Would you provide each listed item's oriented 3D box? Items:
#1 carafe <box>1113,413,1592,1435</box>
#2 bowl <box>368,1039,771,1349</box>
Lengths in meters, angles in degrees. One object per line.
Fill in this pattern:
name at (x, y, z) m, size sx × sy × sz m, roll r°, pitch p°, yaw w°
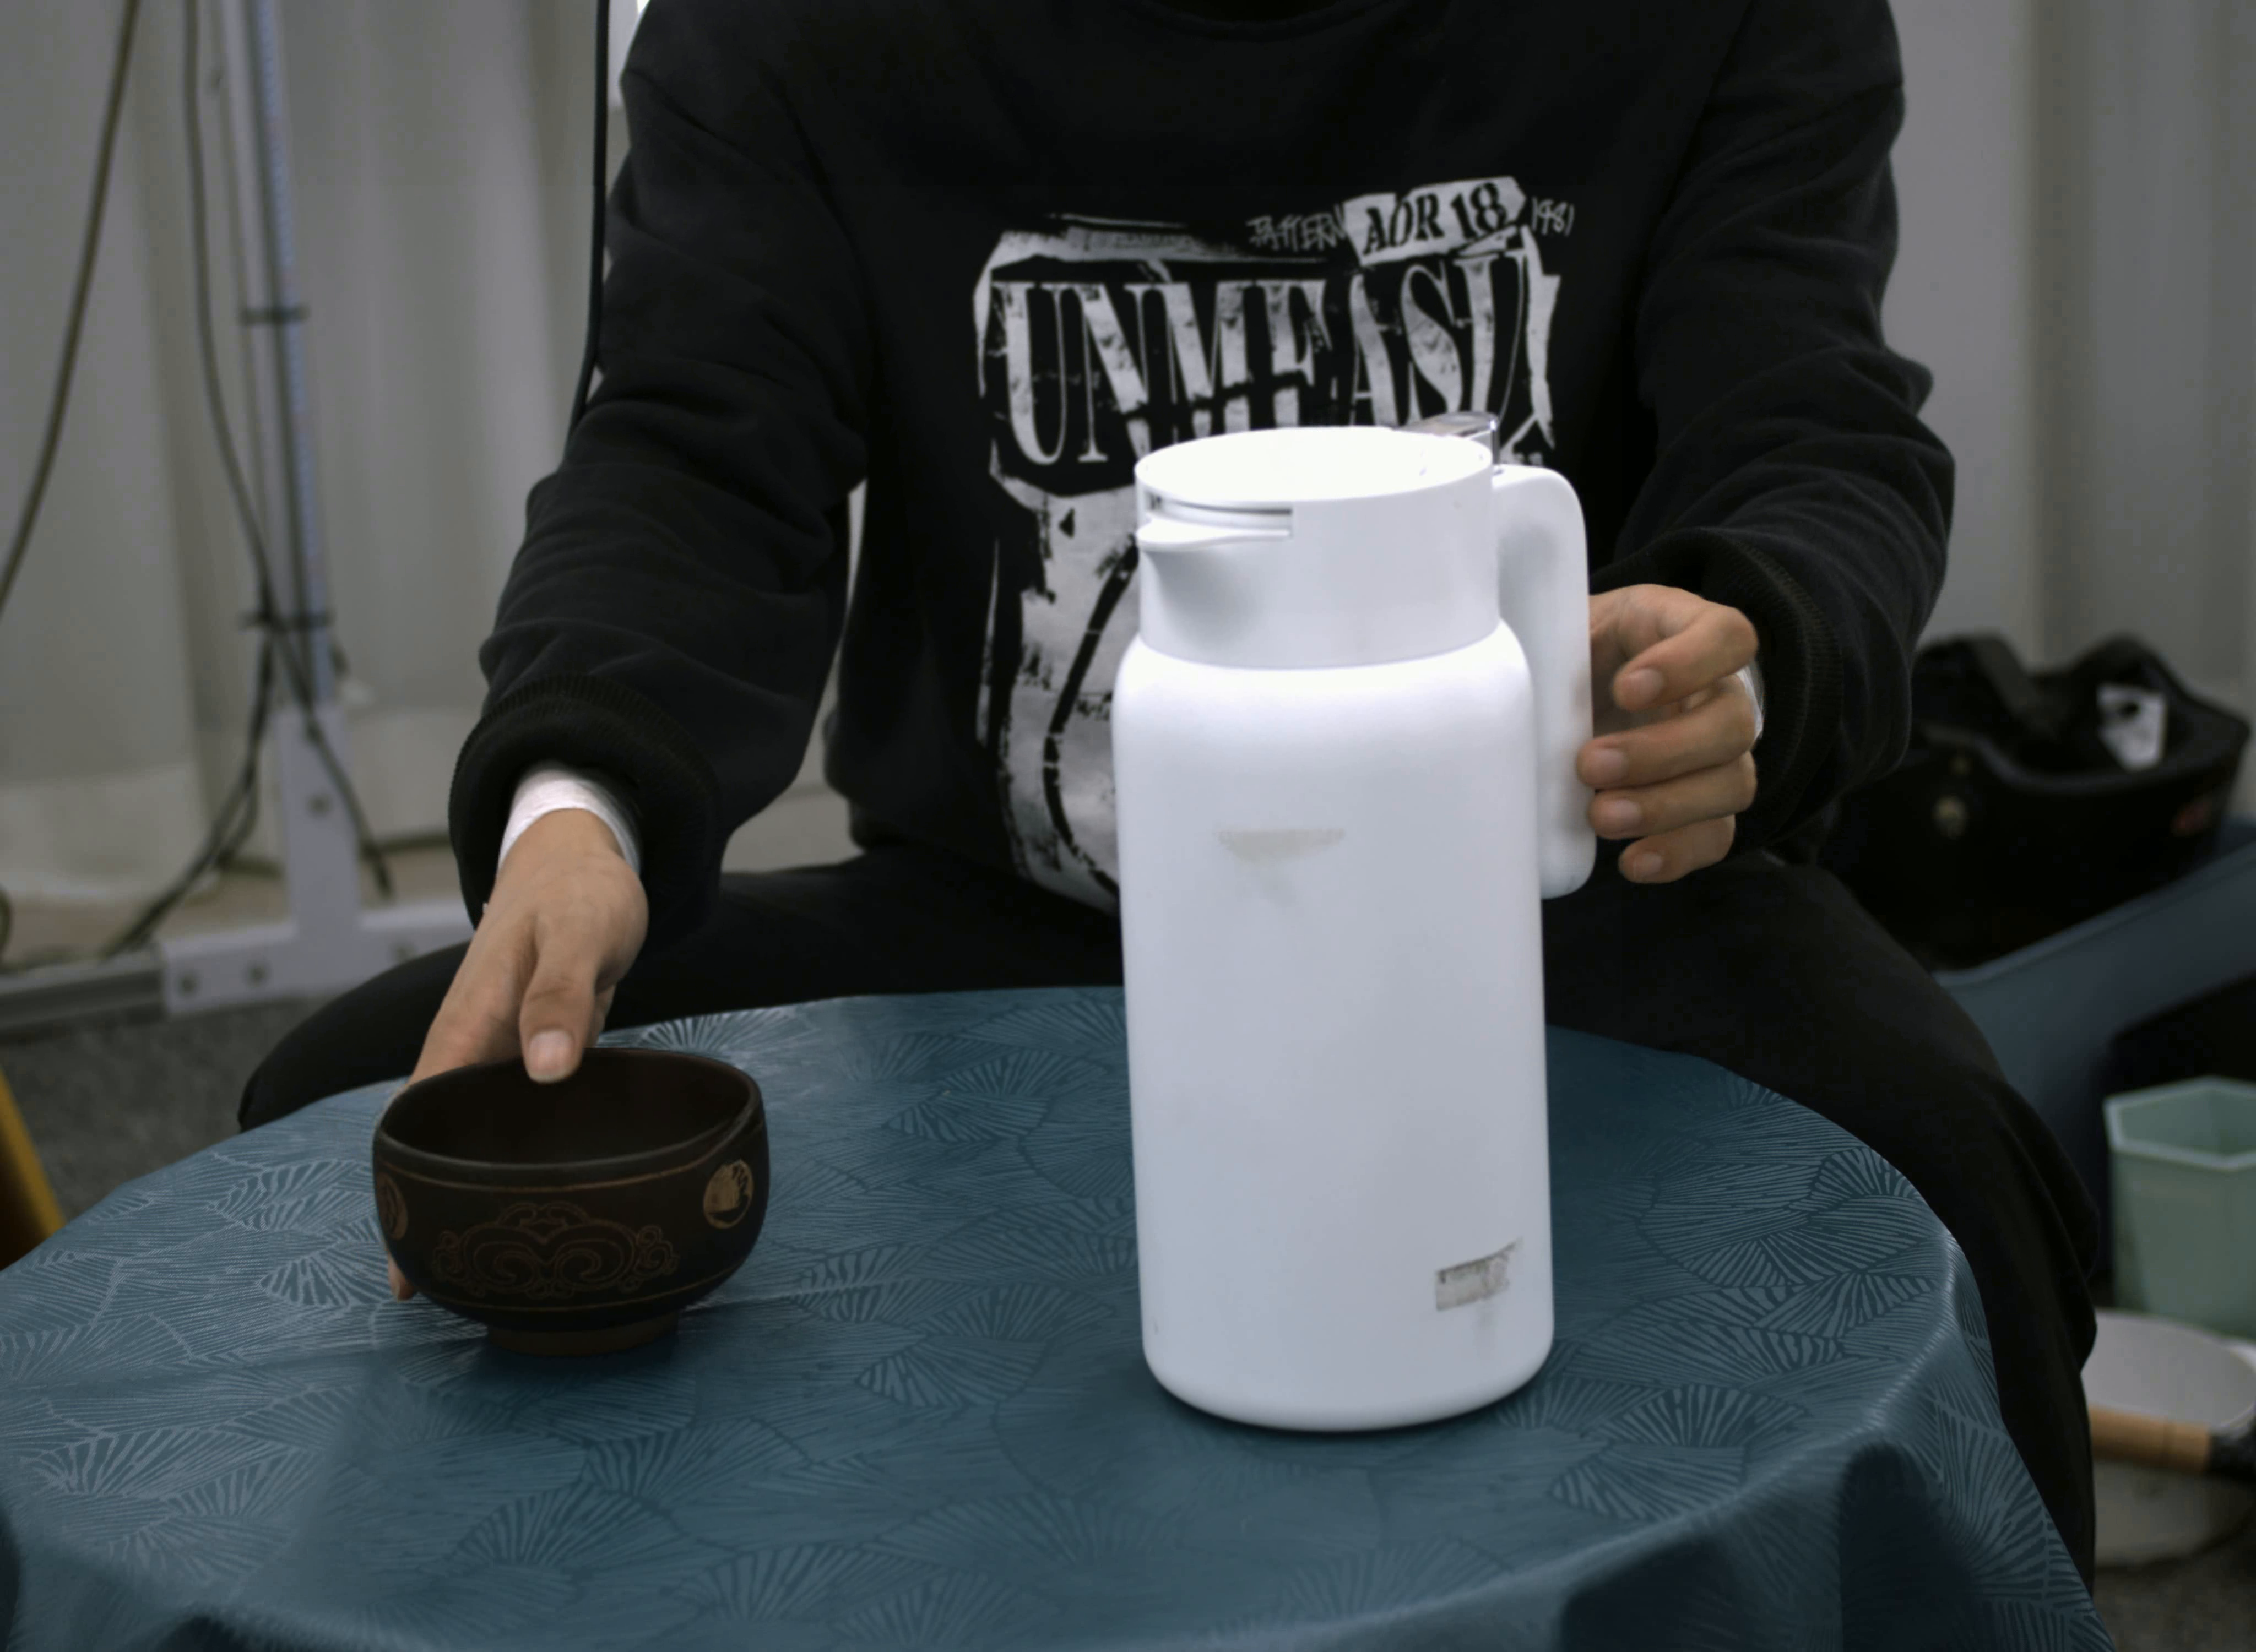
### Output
carafe at (0.067, 0.023, 1.533) m, size 0.124 × 0.268 × 0.172 m, roll 7°, pitch 17°, yaw 40°
bowl at (-0.163, 0.112, 1.611) m, size 0.117 × 0.069 × 0.119 m, roll -3°, pitch 14°, yaw 0°
